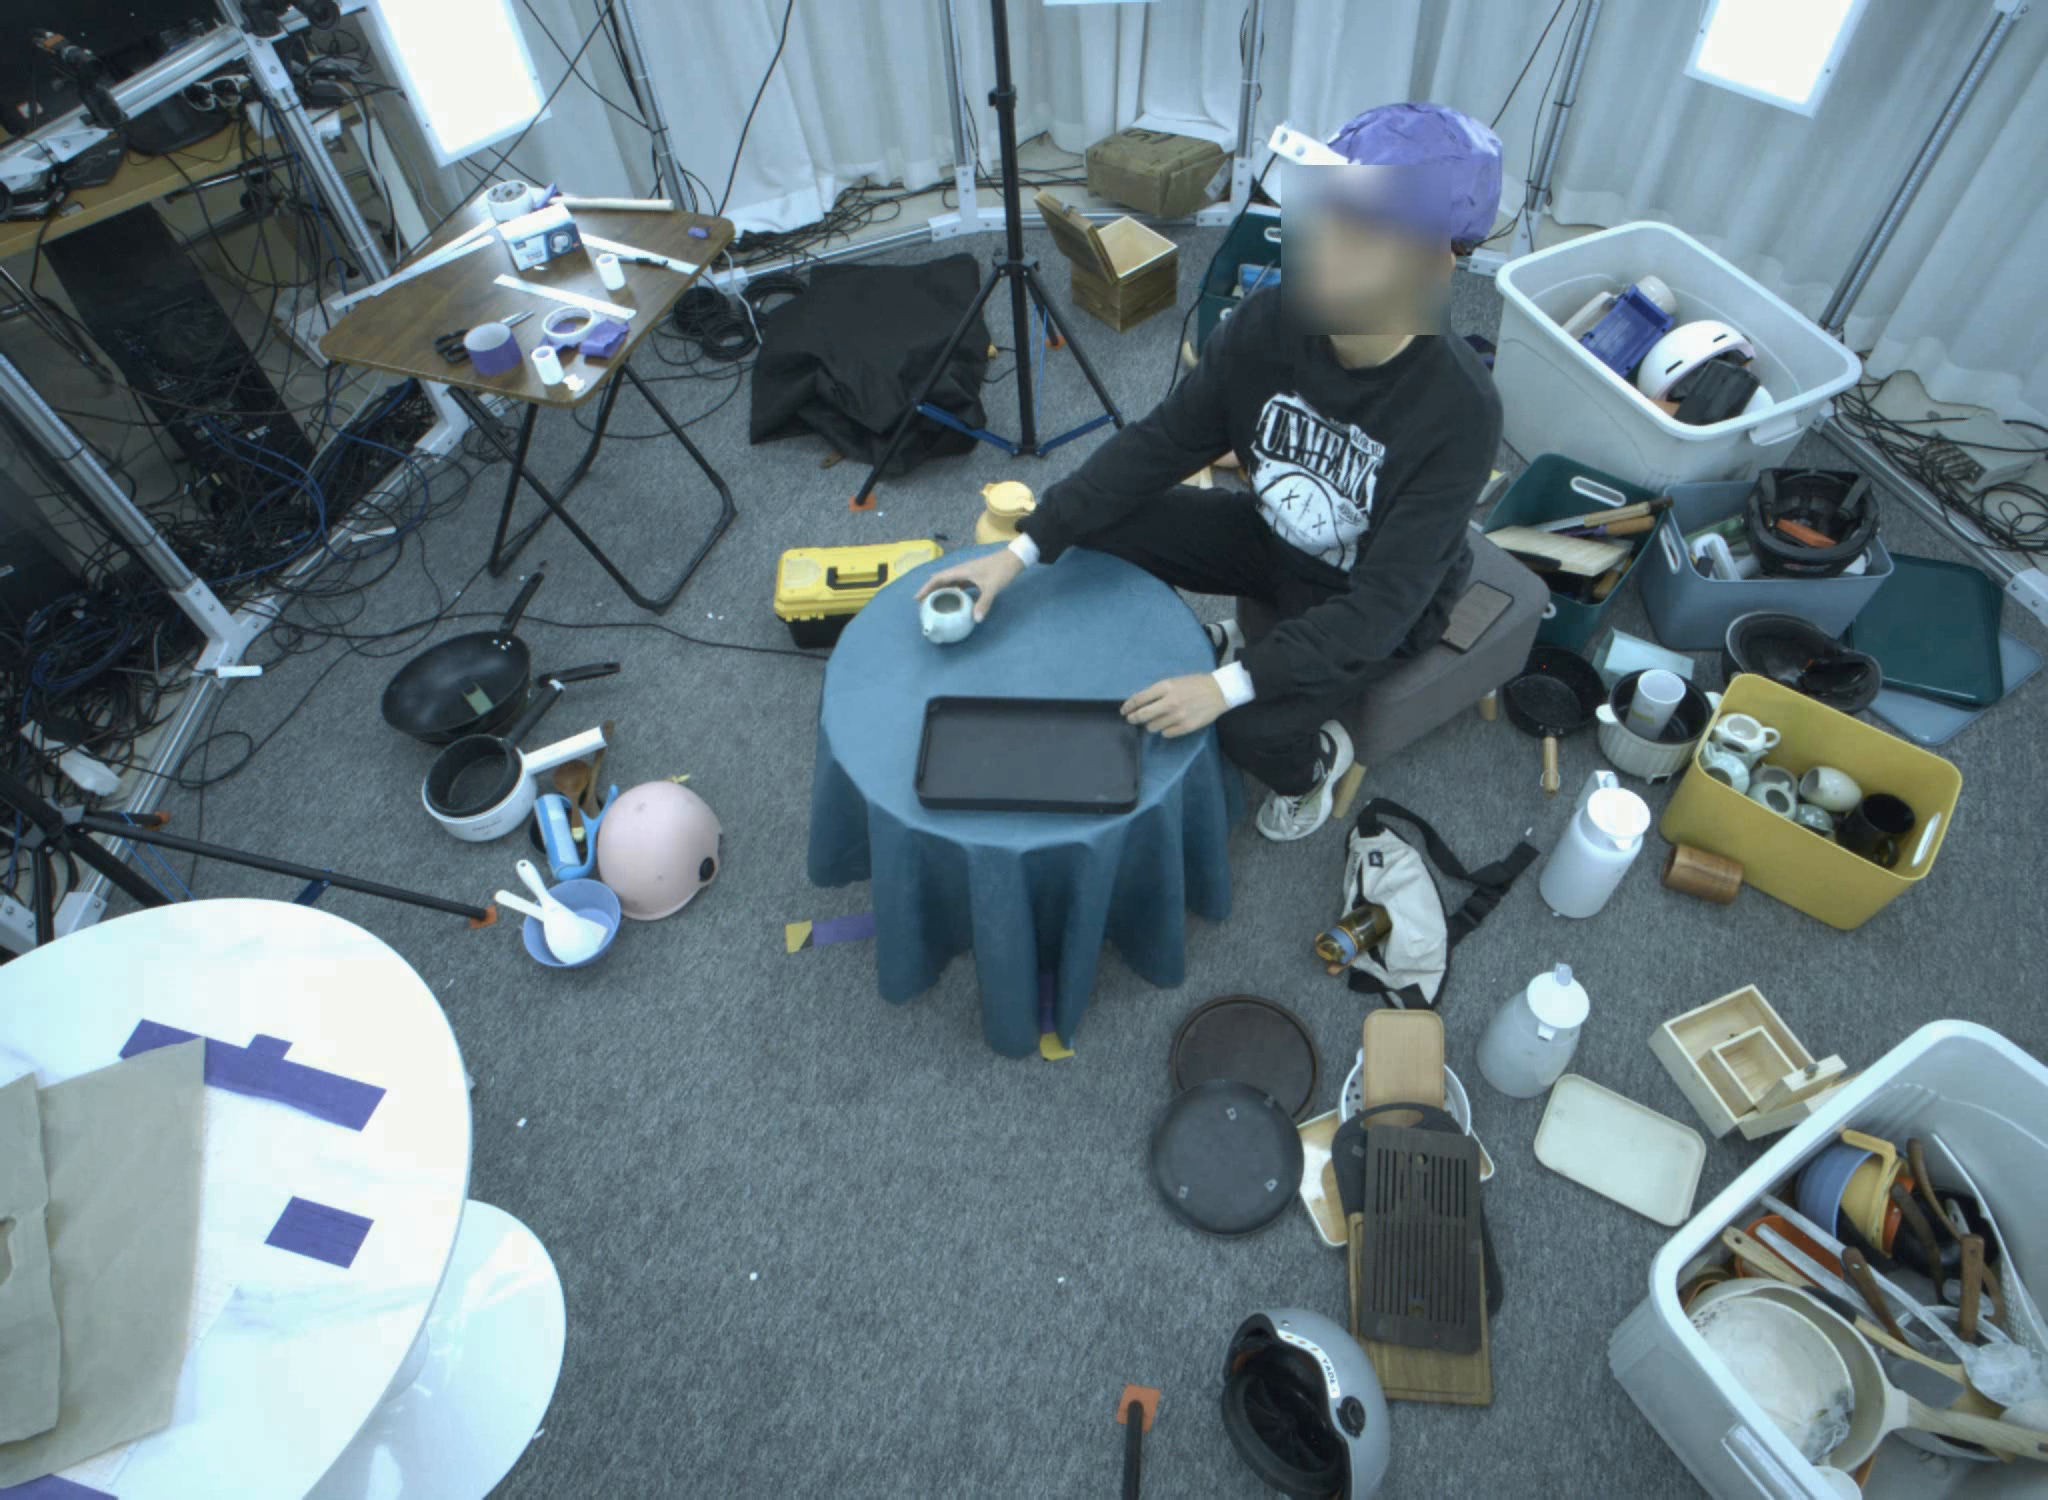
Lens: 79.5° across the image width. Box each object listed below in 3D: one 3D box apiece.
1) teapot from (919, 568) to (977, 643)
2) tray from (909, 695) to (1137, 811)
[{"bbox_3d":[-0.118,-0.210,1.892,0.087,0.075,0.144,20,59,16],"label":"teapot"},{"bbox_3d":[0.001,0.004,1.758,0.317,0.037,0.182,0,55,2],"label":"tray"}]
